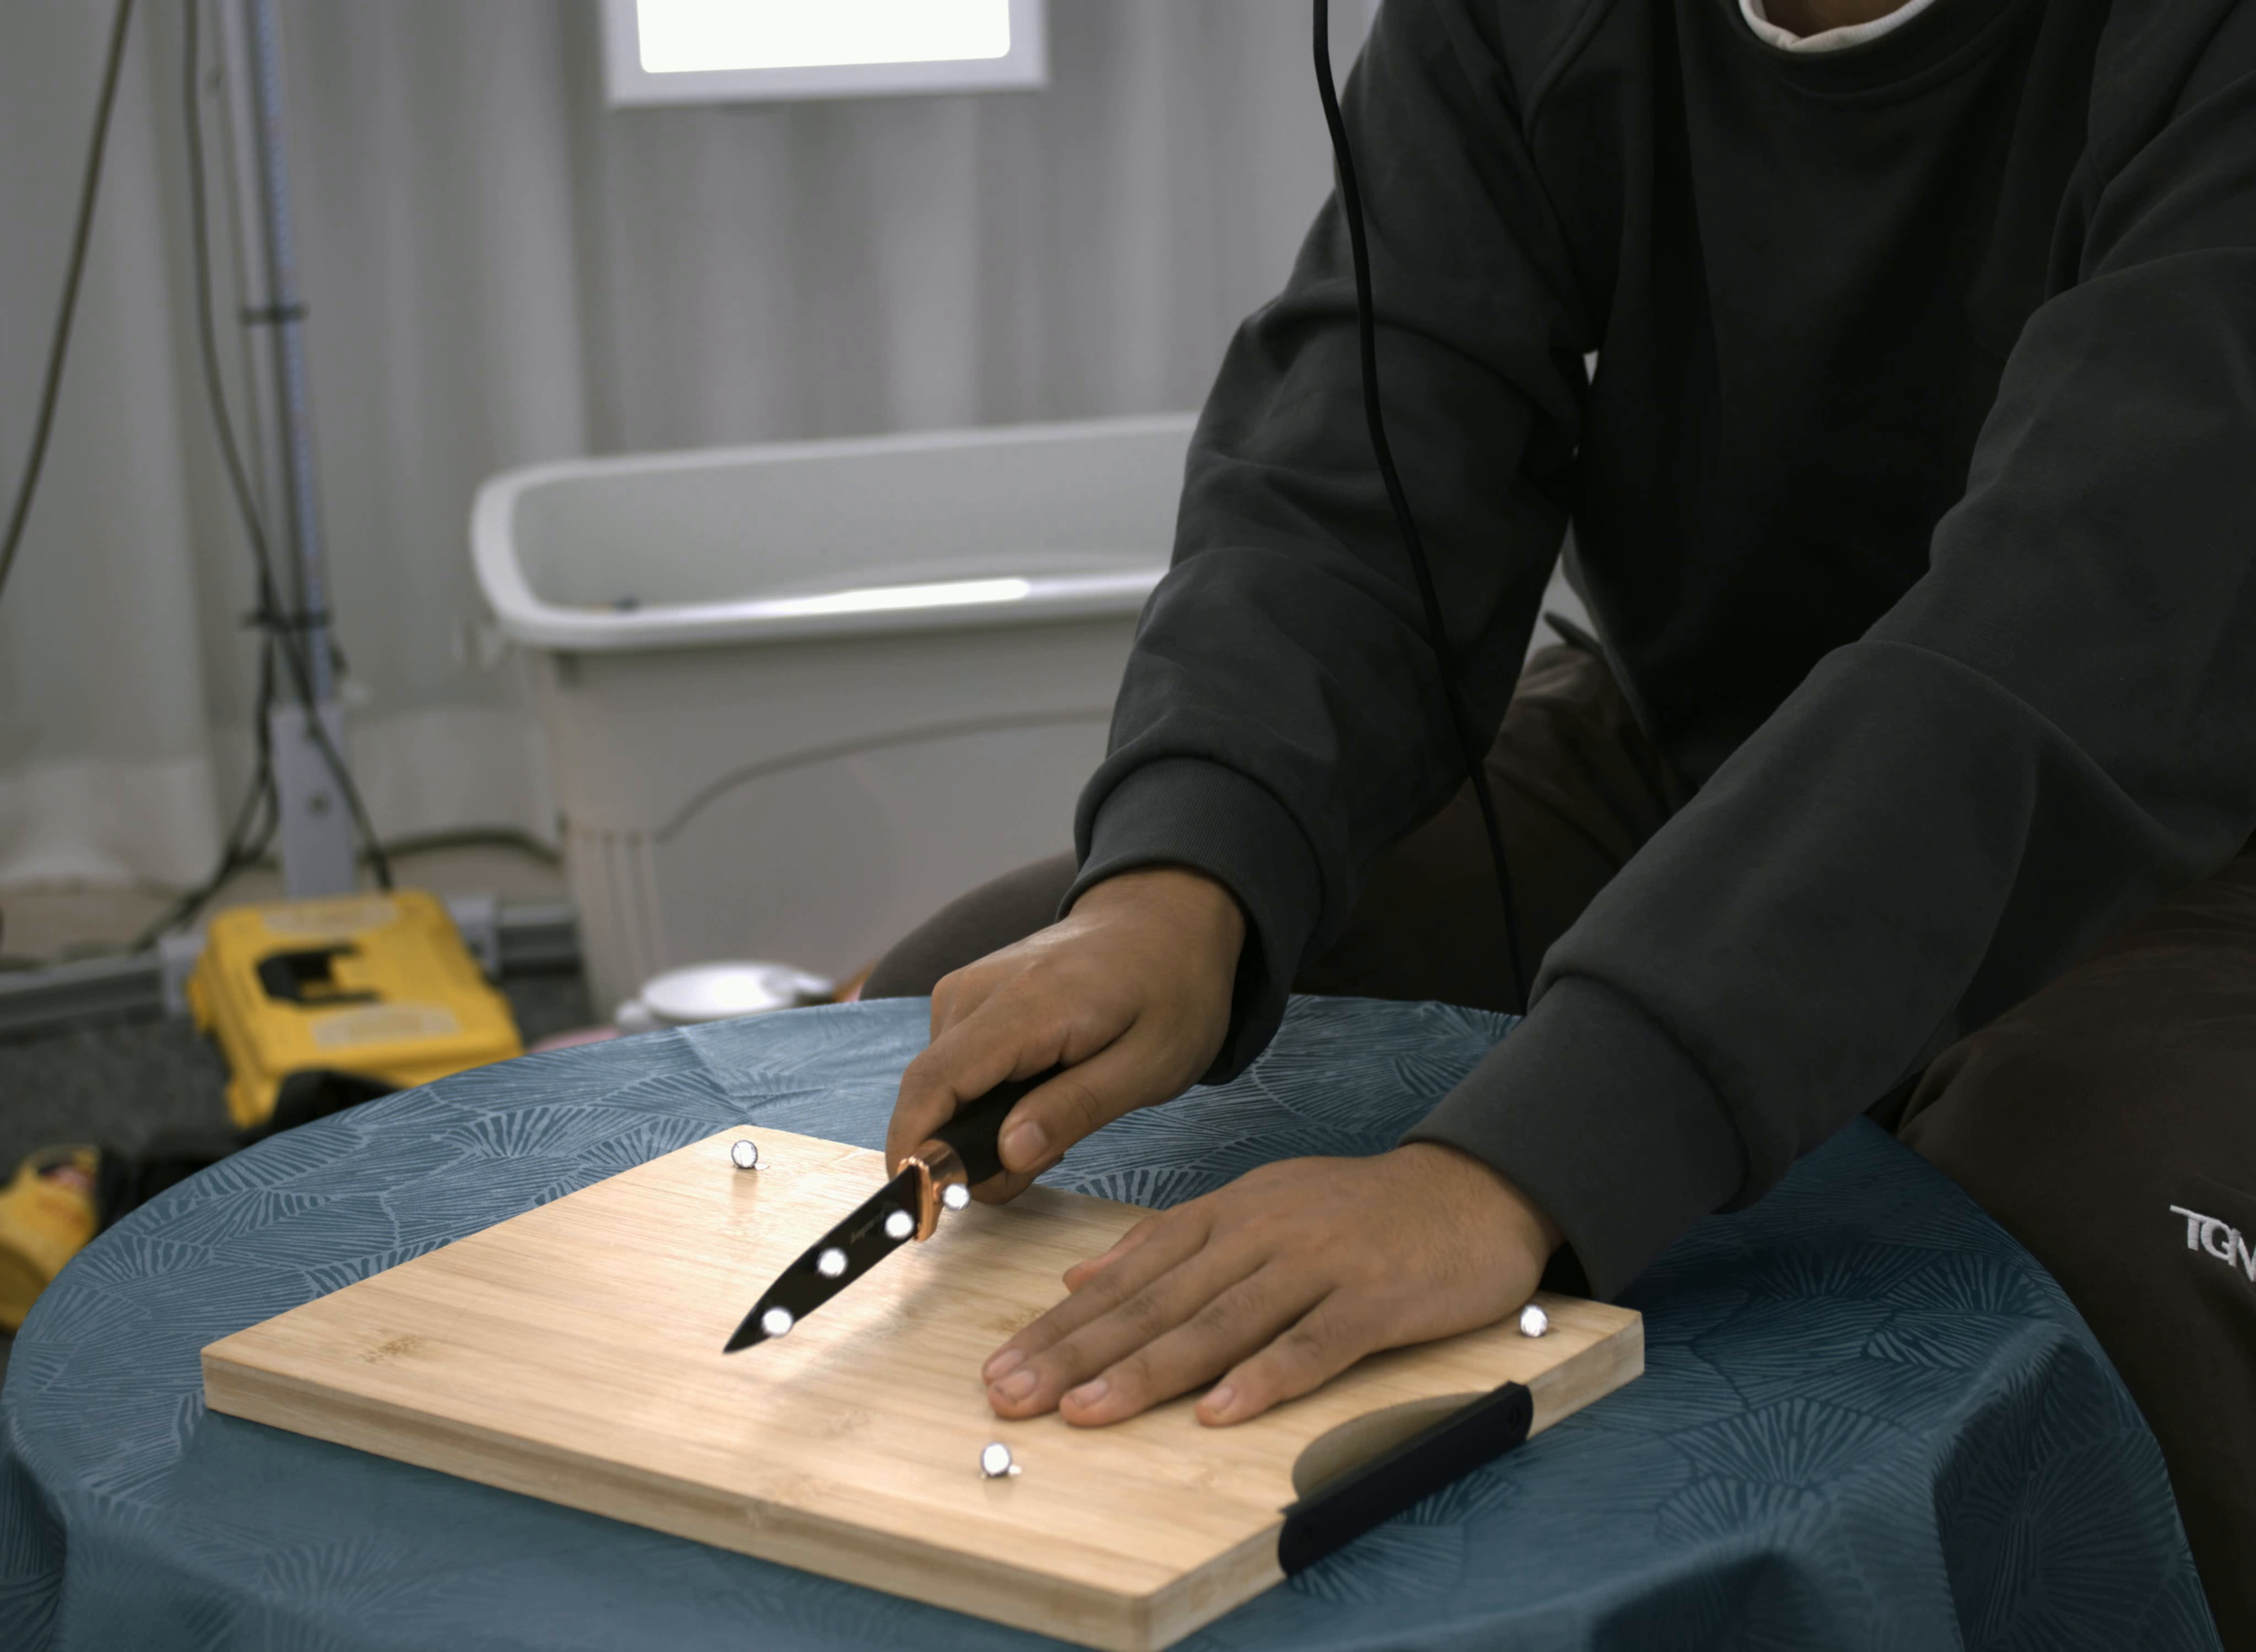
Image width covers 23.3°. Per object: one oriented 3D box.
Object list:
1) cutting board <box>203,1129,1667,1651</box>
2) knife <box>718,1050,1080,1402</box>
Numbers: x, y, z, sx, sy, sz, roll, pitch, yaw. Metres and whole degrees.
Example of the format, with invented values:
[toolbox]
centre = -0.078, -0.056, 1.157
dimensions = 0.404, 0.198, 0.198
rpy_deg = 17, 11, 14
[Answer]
[cutting board]
centre = -0.056, 0.154, 1.549
dimensions = 0.350, 0.023, 0.250
rpy_deg = 8, 19, 36
[knife]
centre = -0.065, 0.113, 1.589
dimensions = 0.017, 0.026, 0.226
rpy_deg = 10, 23, 22
